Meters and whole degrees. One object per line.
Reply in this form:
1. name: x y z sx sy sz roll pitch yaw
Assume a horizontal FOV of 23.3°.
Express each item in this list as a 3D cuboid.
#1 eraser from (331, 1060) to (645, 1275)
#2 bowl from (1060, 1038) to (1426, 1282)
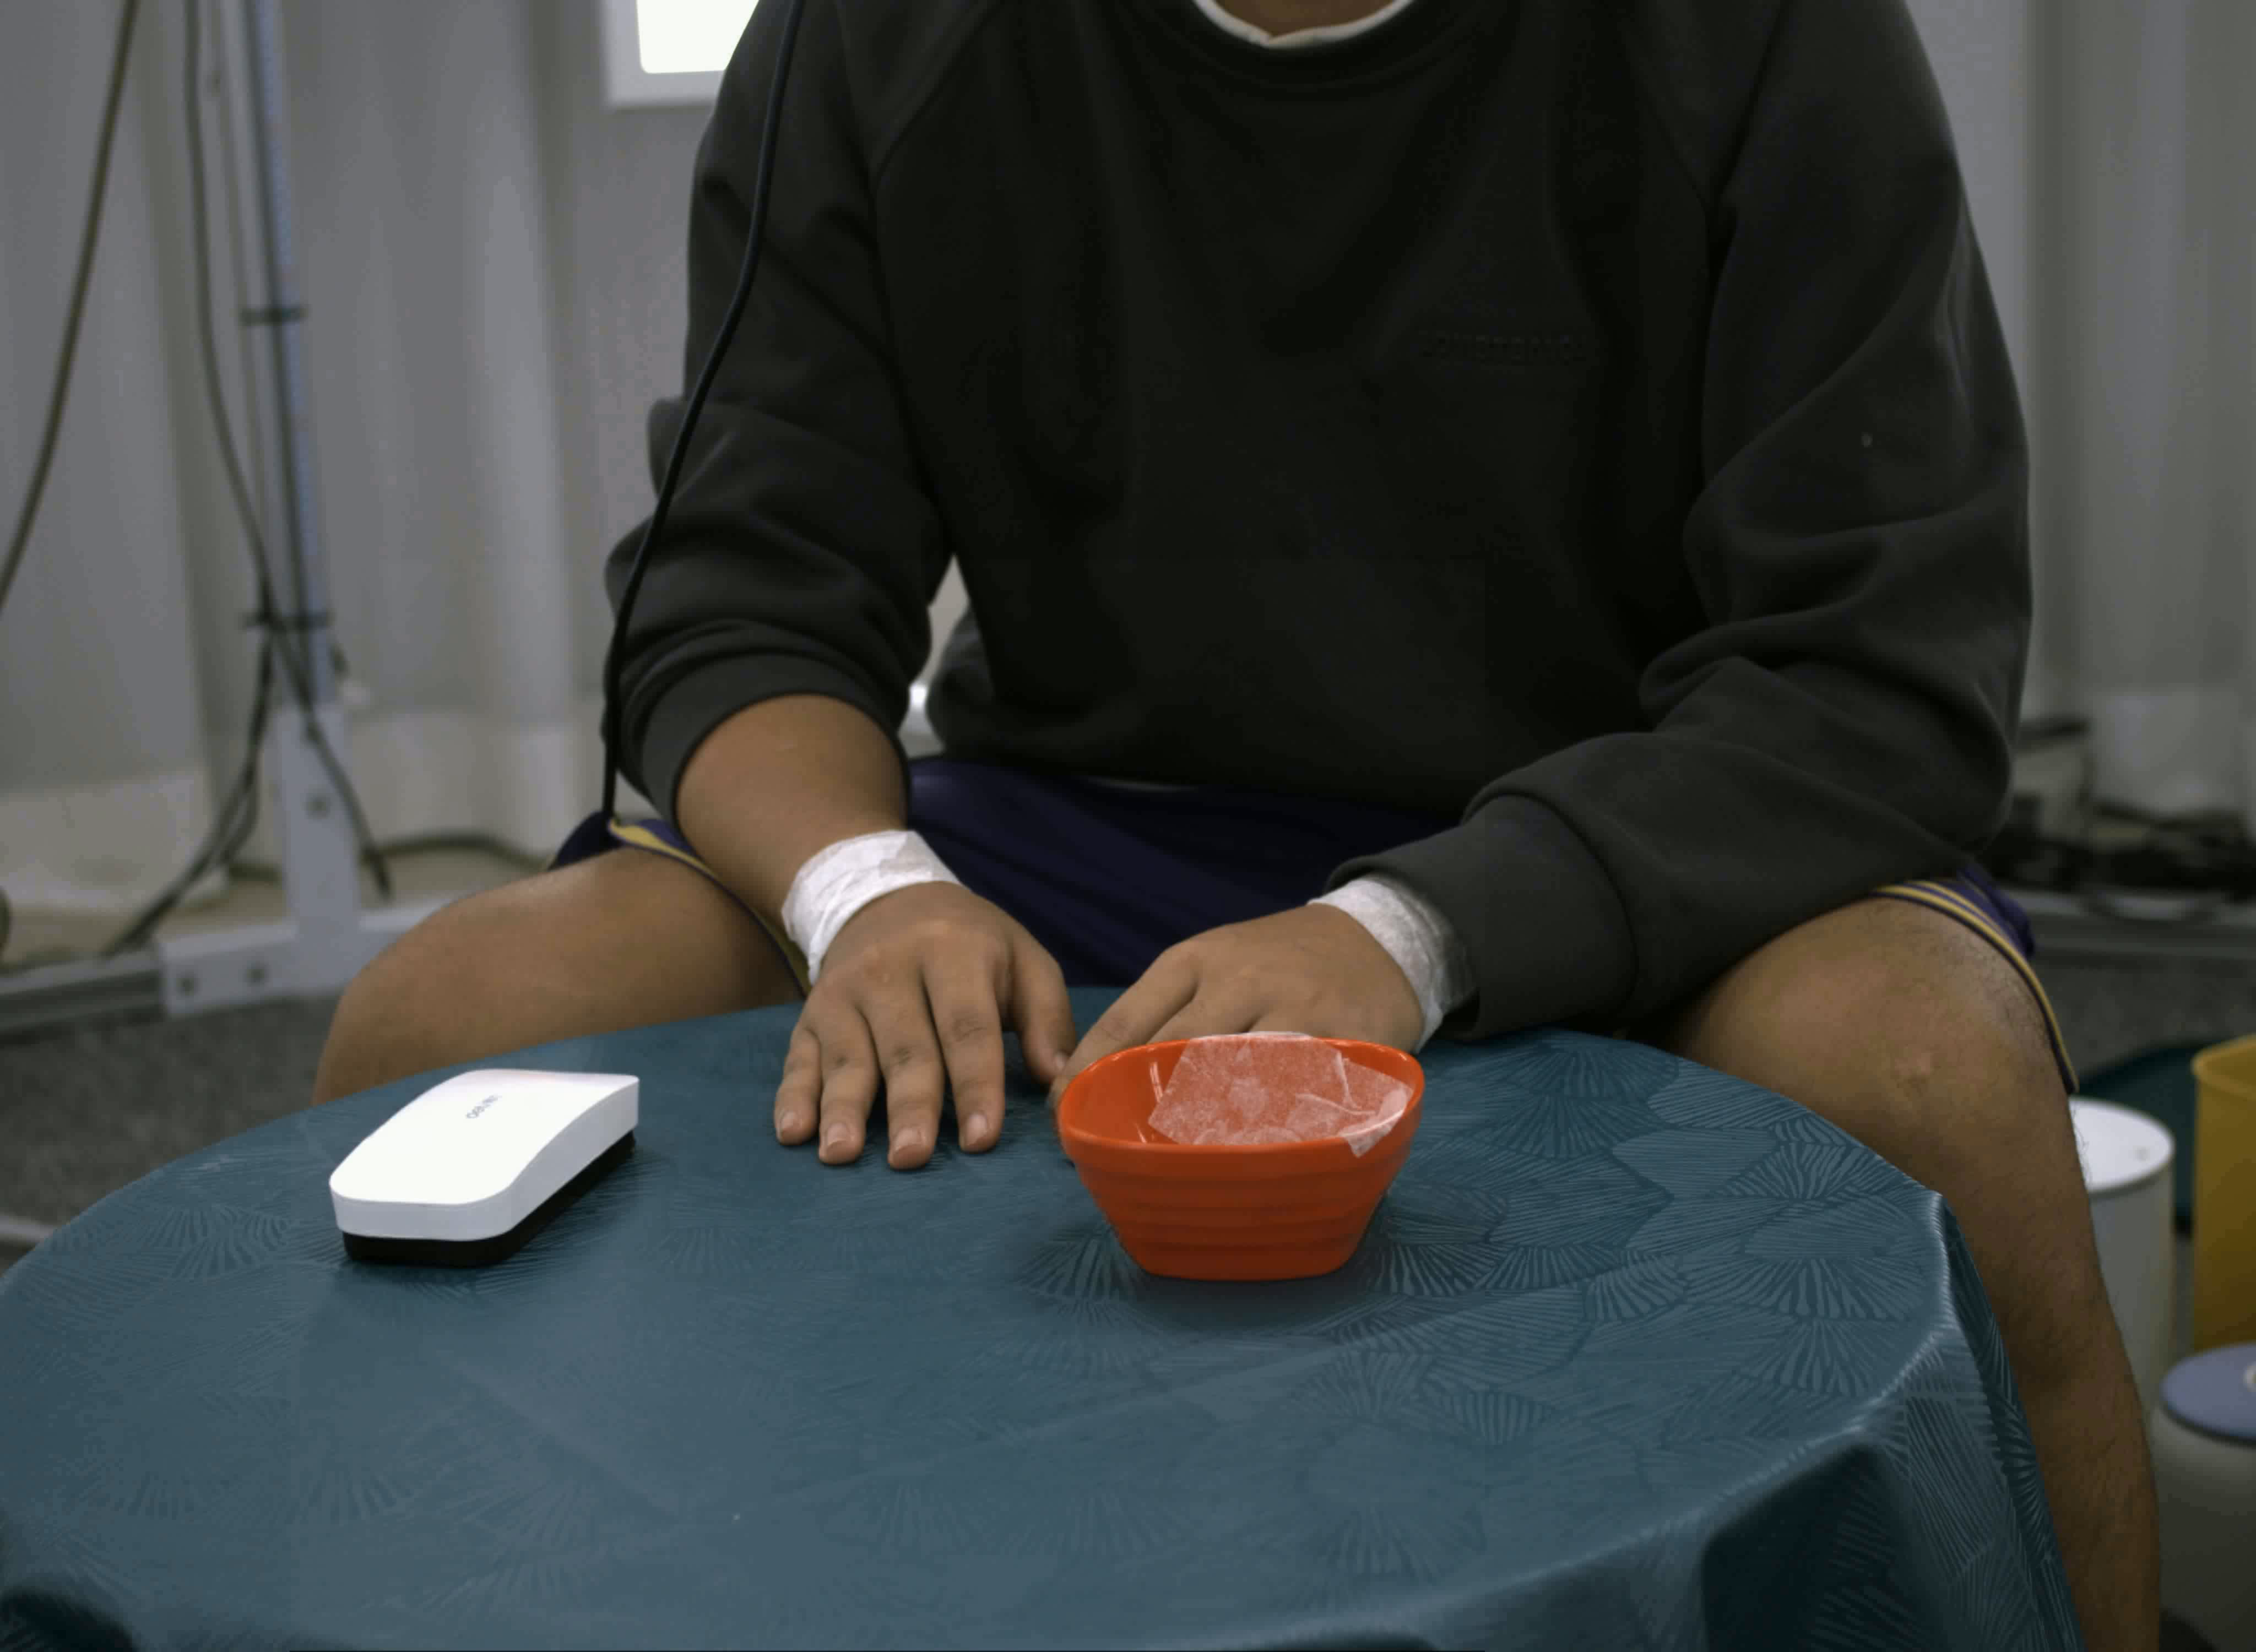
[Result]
1. eraser: -0.200 0.104 1.733 0.063 0.034 0.132 3 18 19
2. bowl: 0.036 0.103 1.654 0.118 0.051 0.119 -4 14 1
